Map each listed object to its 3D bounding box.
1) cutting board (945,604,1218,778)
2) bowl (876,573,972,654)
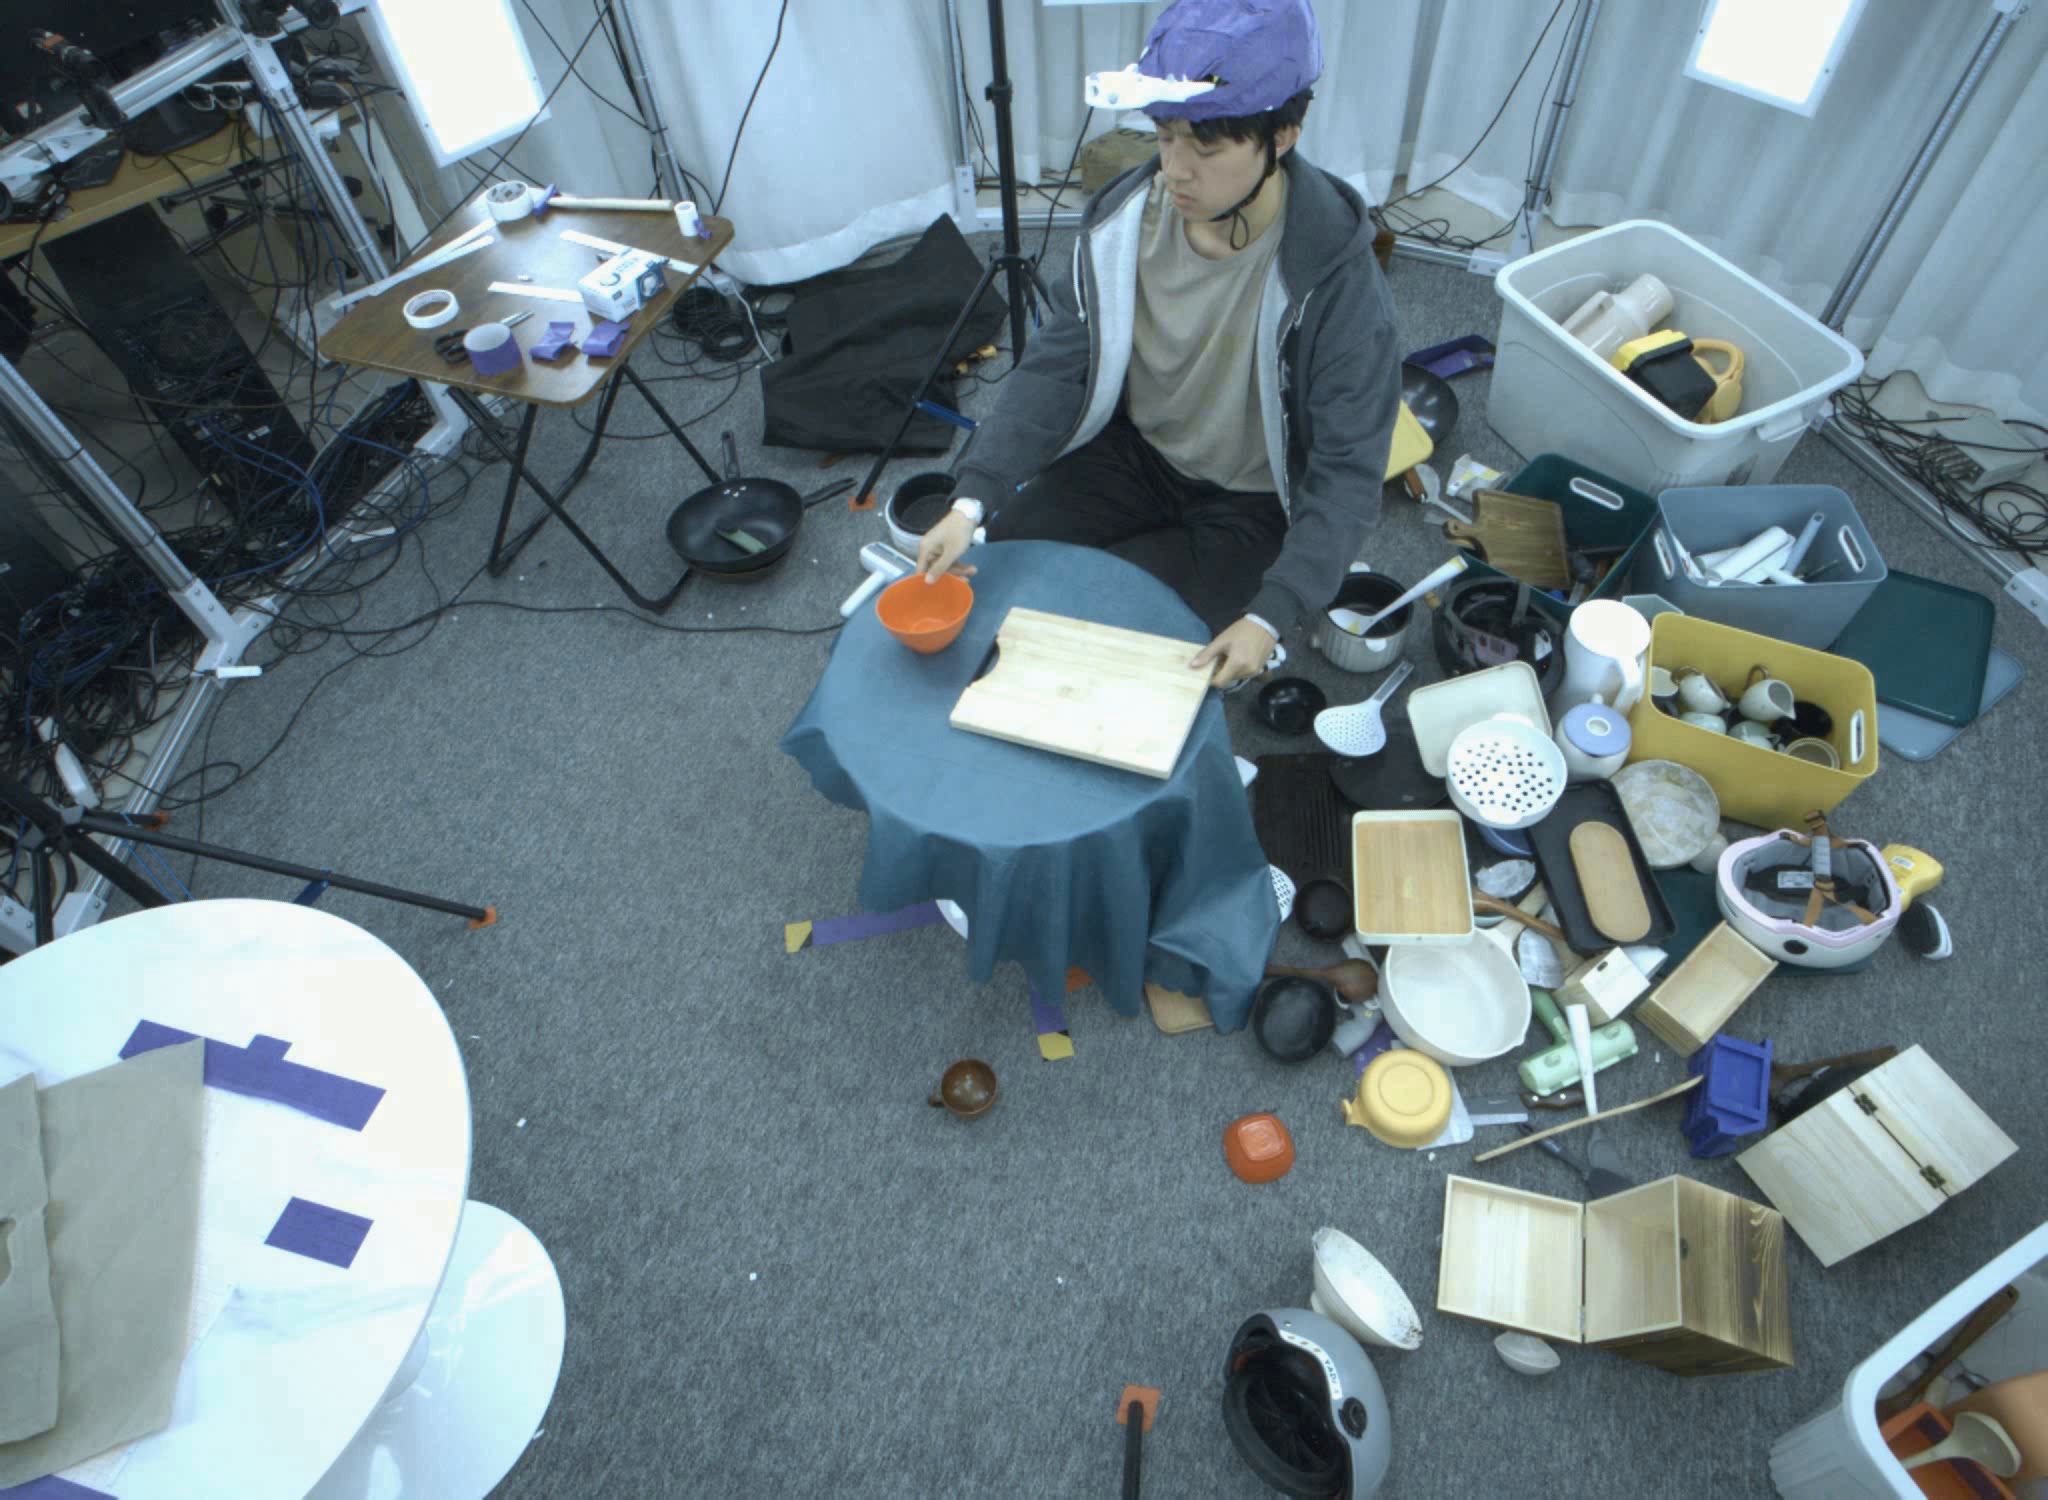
[{"bbox_3d":[0.086,-0.094,1.825,0.344,0.024,0.250,14,55,18],"label":"cutting board"},{"bbox_3d":[-0.148,-0.196,1.872,0.148,0.106,0.146,-1,55,3],"label":"bowl"}]
